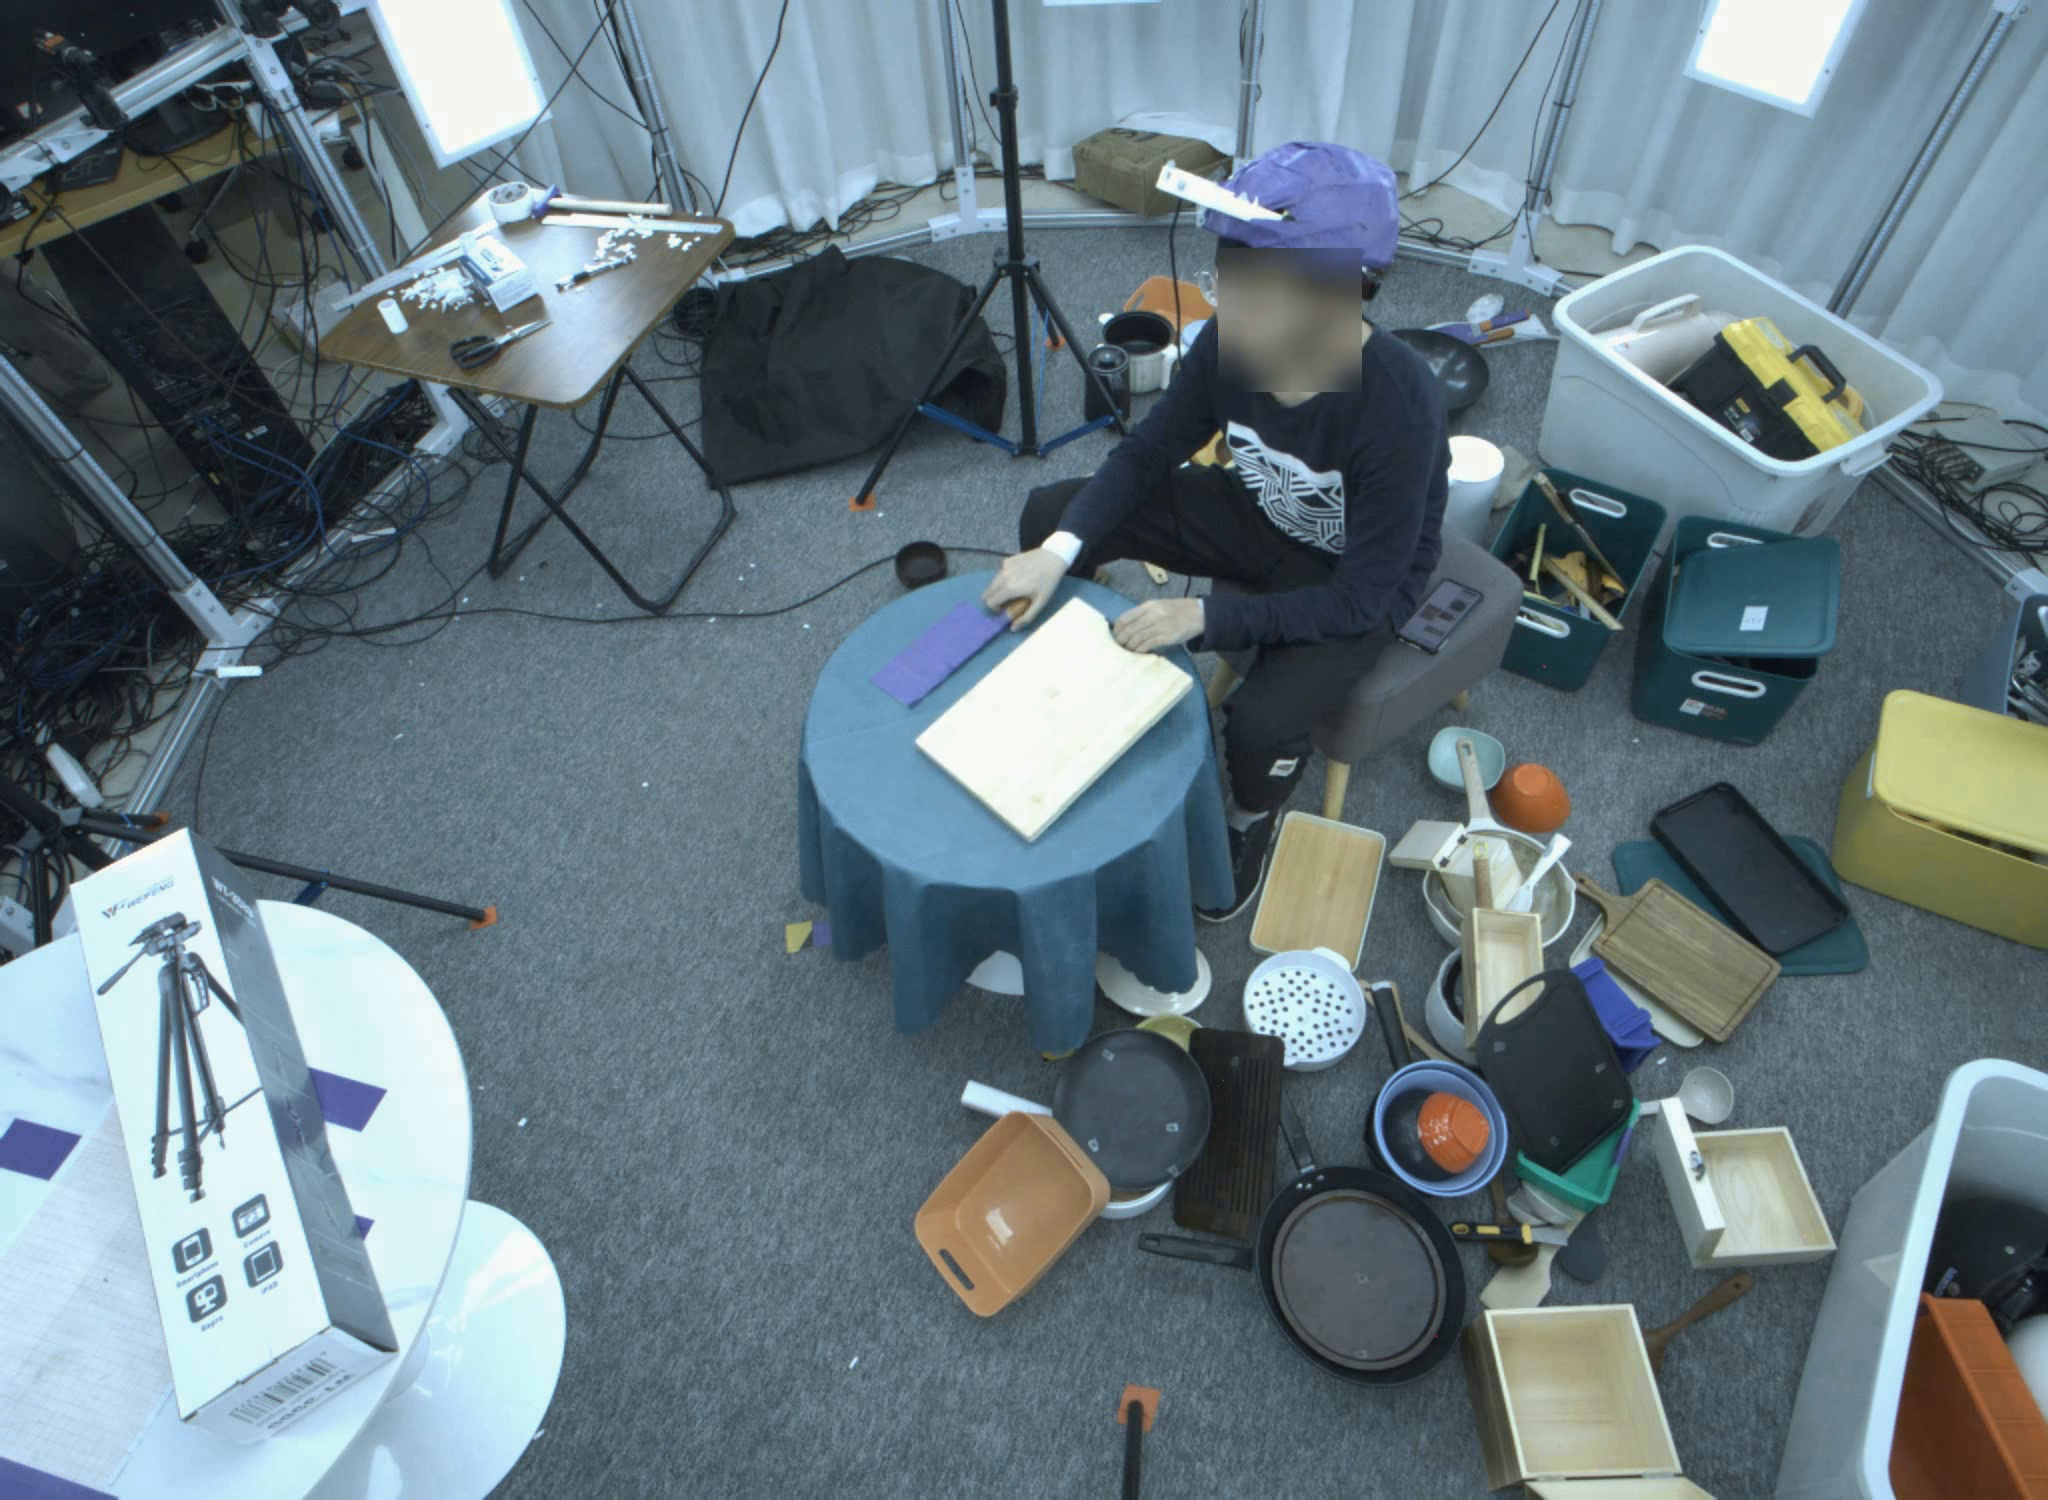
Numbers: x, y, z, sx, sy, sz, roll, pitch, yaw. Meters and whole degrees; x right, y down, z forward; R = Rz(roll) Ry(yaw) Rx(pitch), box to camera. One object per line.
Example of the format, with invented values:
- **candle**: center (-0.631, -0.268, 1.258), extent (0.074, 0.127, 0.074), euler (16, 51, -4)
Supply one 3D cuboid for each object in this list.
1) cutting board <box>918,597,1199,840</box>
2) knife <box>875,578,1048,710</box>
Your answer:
- **cutting board**: center (0.048, -0.056, 1.797), extent (0.246, 0.024, 0.350), euler (38, 71, 25)
- **knife**: center (-0.099, -0.184, 1.913), extent (0.102, 0.032, 0.317), euler (36, 63, 24)
